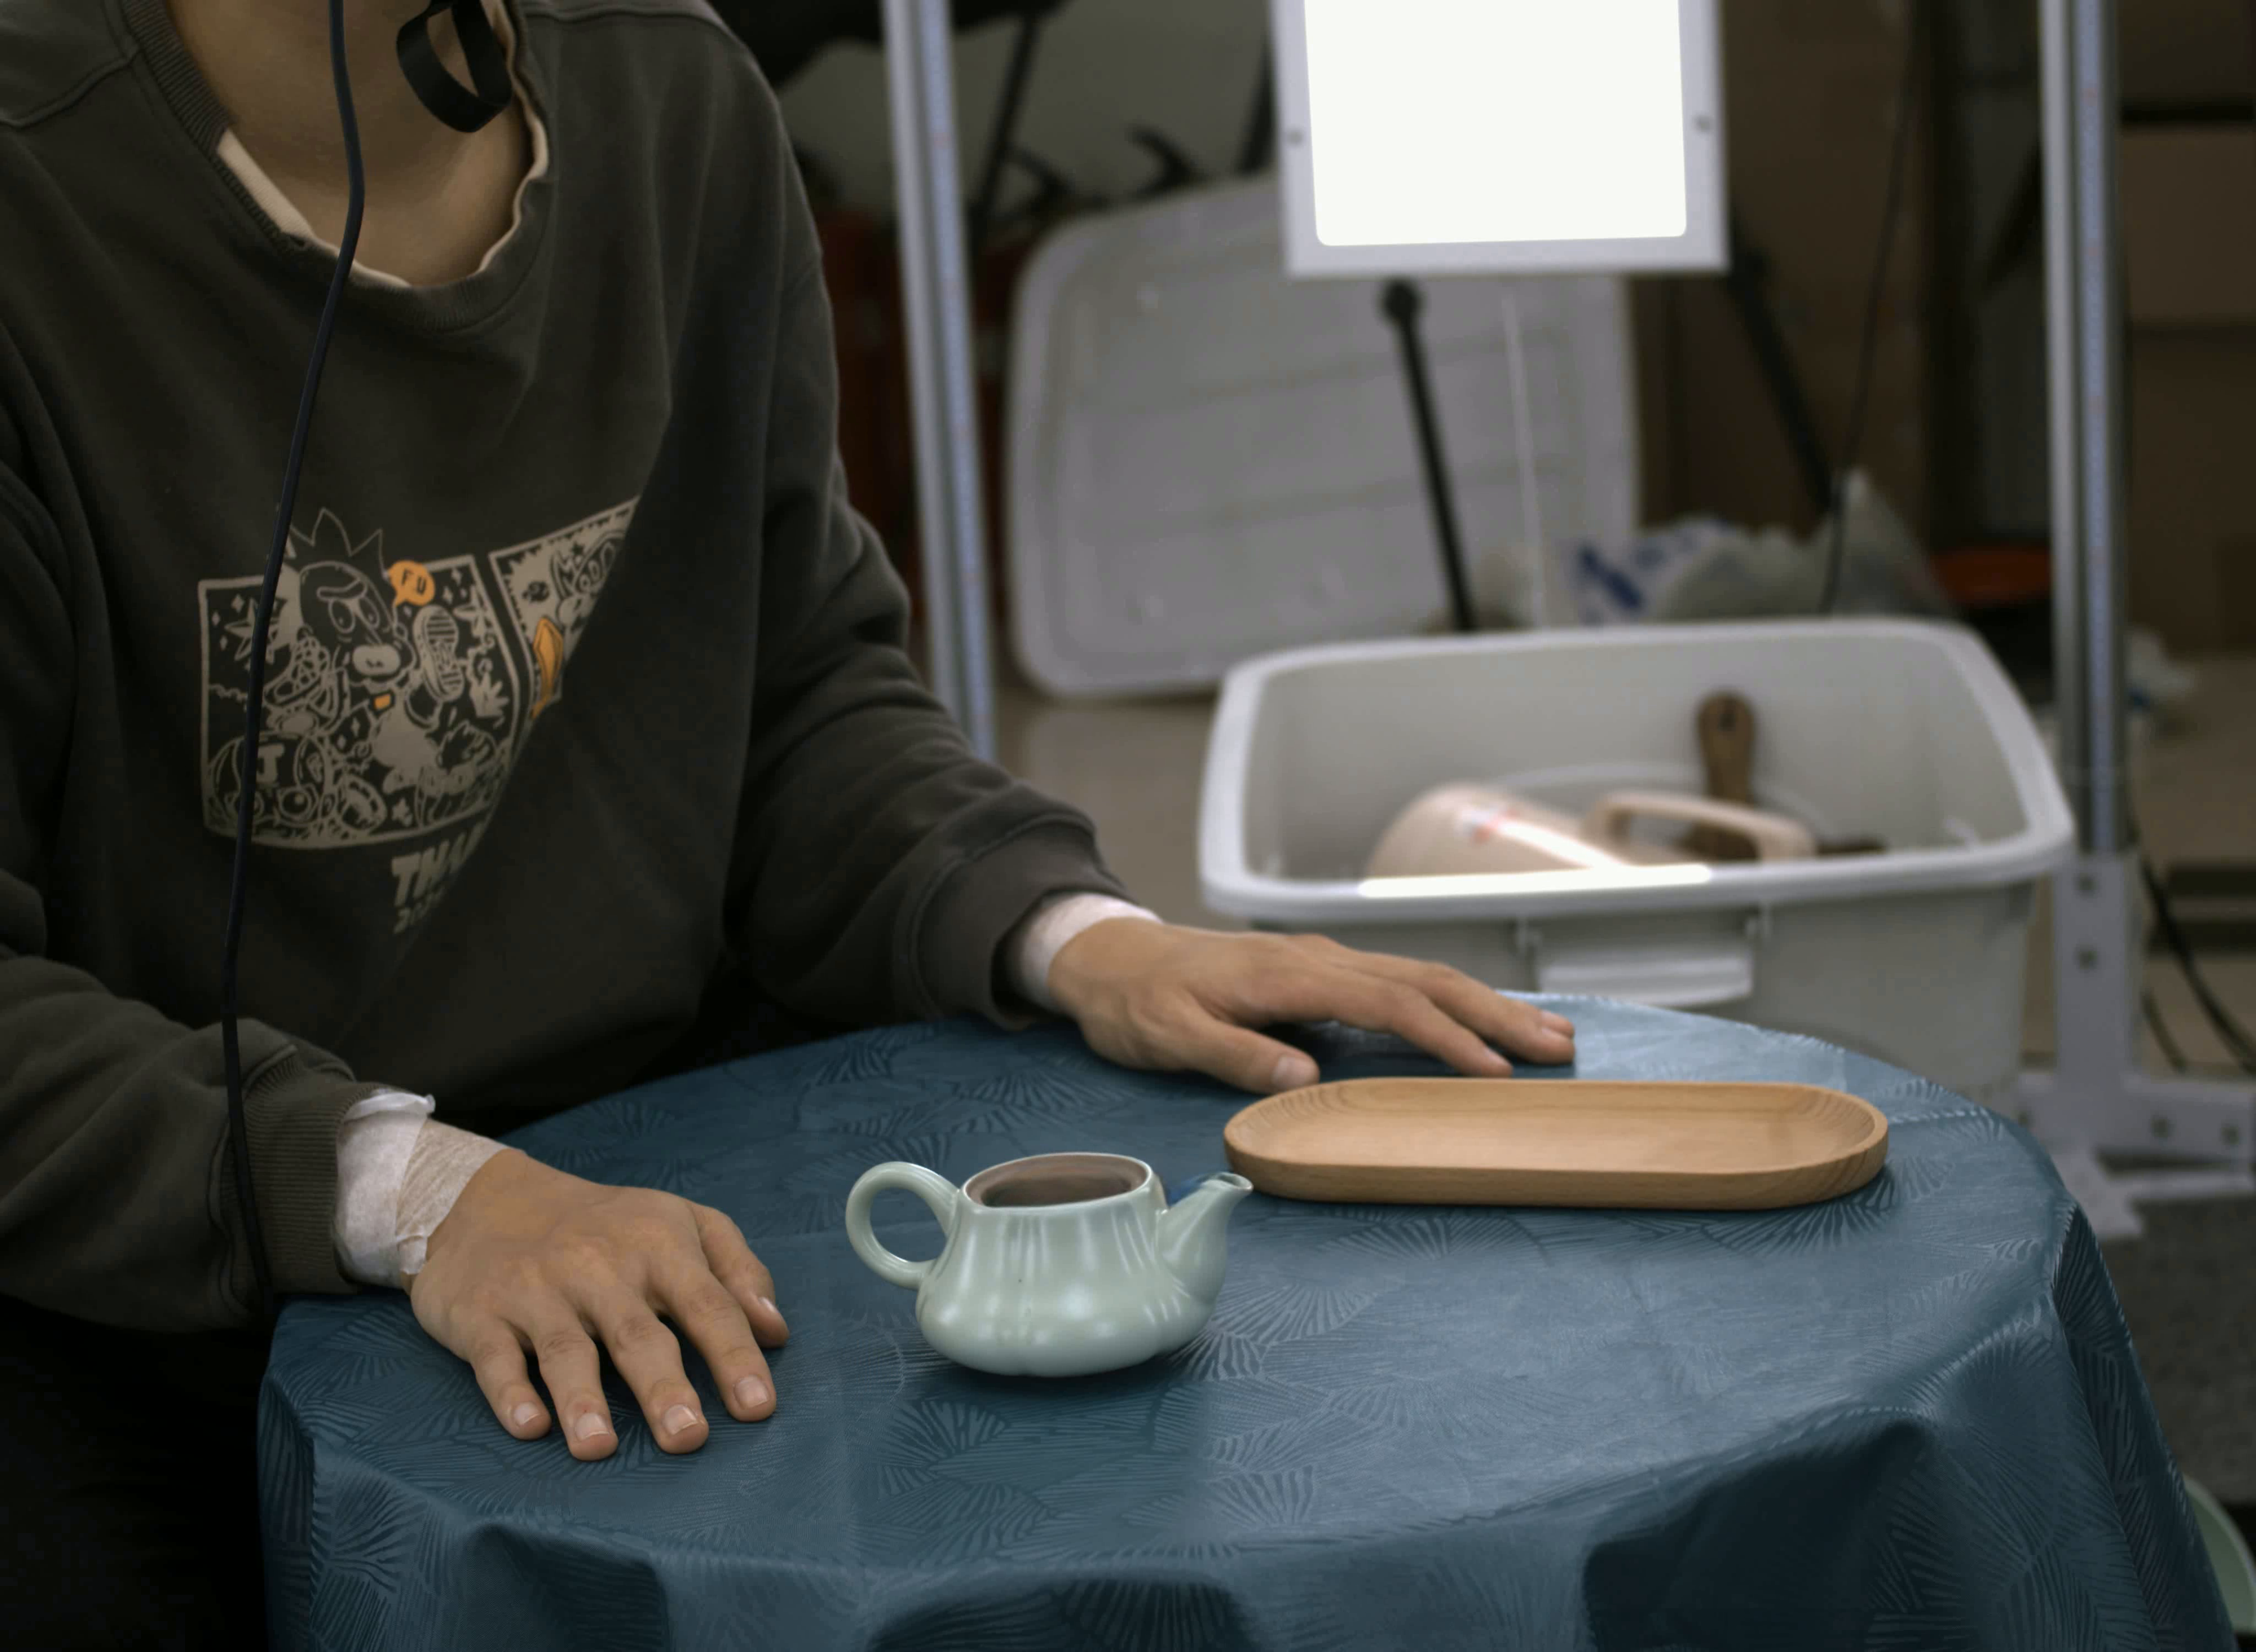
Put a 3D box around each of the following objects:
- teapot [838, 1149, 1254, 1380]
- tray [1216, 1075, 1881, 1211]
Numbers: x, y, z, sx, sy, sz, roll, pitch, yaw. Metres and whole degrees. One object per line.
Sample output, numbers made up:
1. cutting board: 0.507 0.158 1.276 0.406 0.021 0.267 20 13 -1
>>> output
1. teapot: -0.025 0.137 1.738 0.138 0.061 0.095 0 16 17
2. tray: 0.144 0.108 1.881 0.234 0.020 0.100 -1 14 19
